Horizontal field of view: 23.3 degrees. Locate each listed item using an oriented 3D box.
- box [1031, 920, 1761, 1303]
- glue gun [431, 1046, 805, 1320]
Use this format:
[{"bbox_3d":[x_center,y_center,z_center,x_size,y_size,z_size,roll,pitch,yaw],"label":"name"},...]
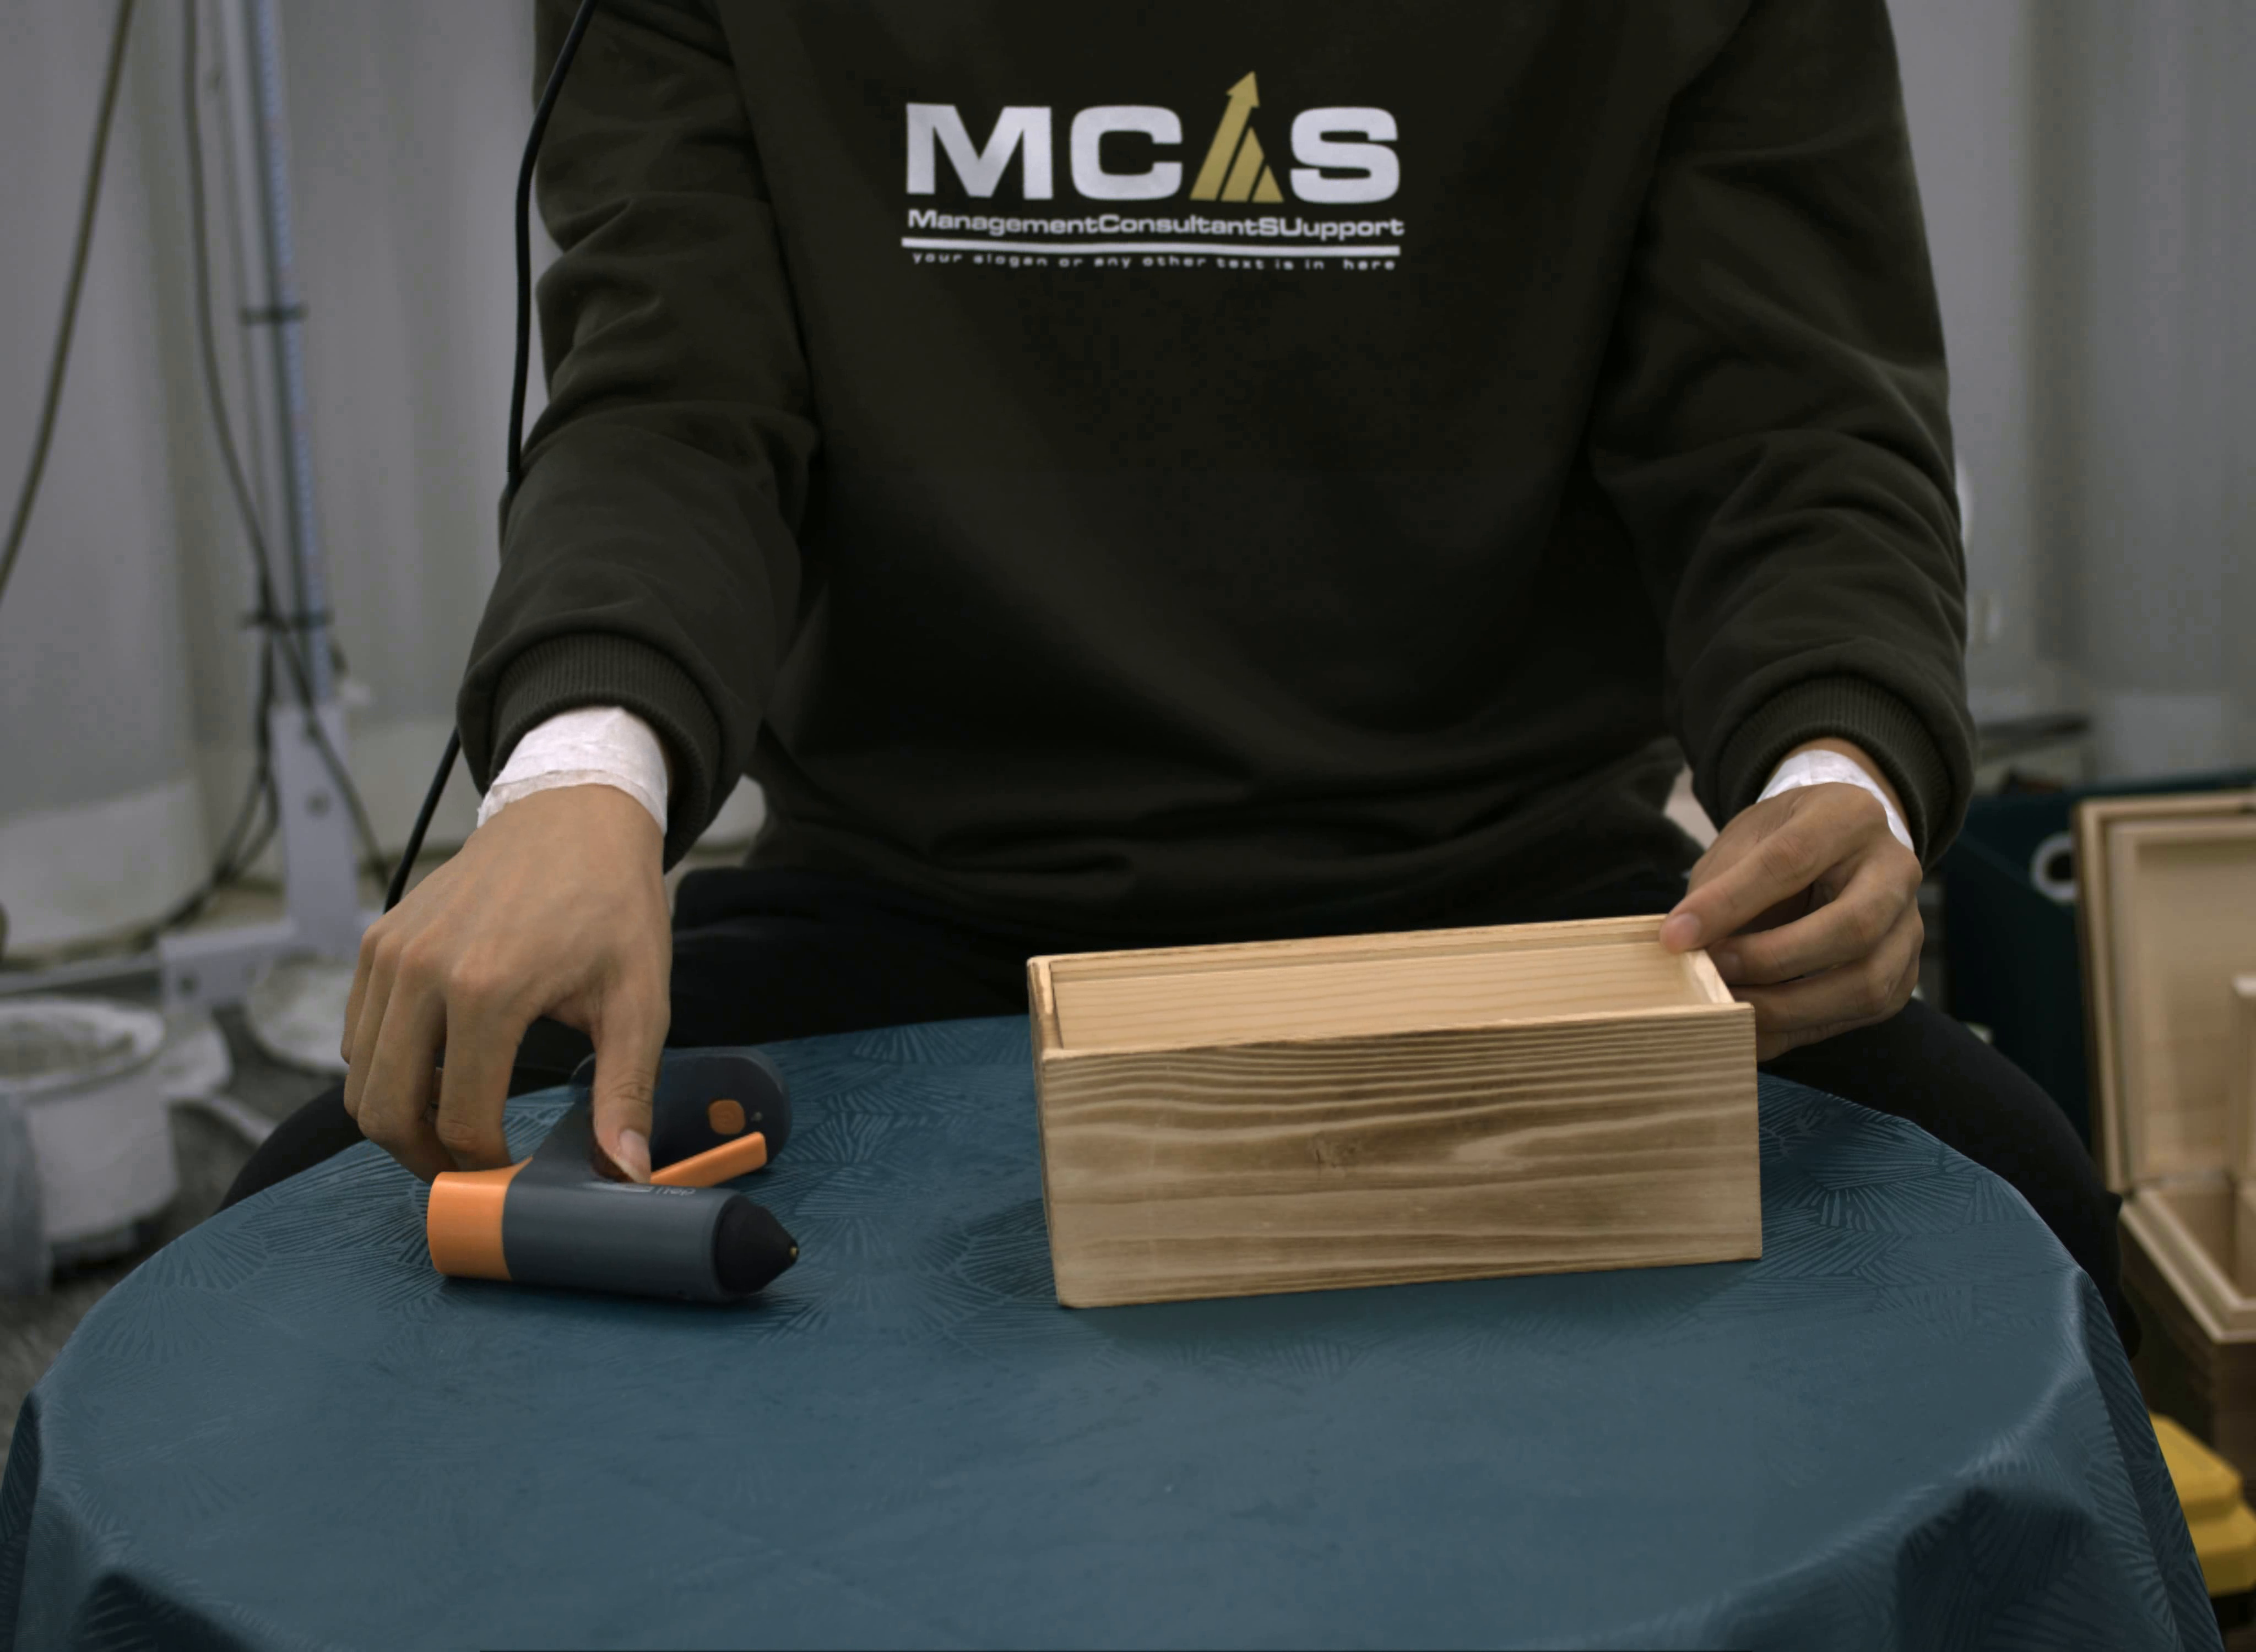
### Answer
[{"bbox_3d":[0.079,0.085,1.659,0.210,0.080,0.108,-3,14,-2],"label":"box"},{"bbox_3d":[-0.148,0.113,1.691,0.118,0.041,0.141,3,18,6],"label":"glue gun"}]
